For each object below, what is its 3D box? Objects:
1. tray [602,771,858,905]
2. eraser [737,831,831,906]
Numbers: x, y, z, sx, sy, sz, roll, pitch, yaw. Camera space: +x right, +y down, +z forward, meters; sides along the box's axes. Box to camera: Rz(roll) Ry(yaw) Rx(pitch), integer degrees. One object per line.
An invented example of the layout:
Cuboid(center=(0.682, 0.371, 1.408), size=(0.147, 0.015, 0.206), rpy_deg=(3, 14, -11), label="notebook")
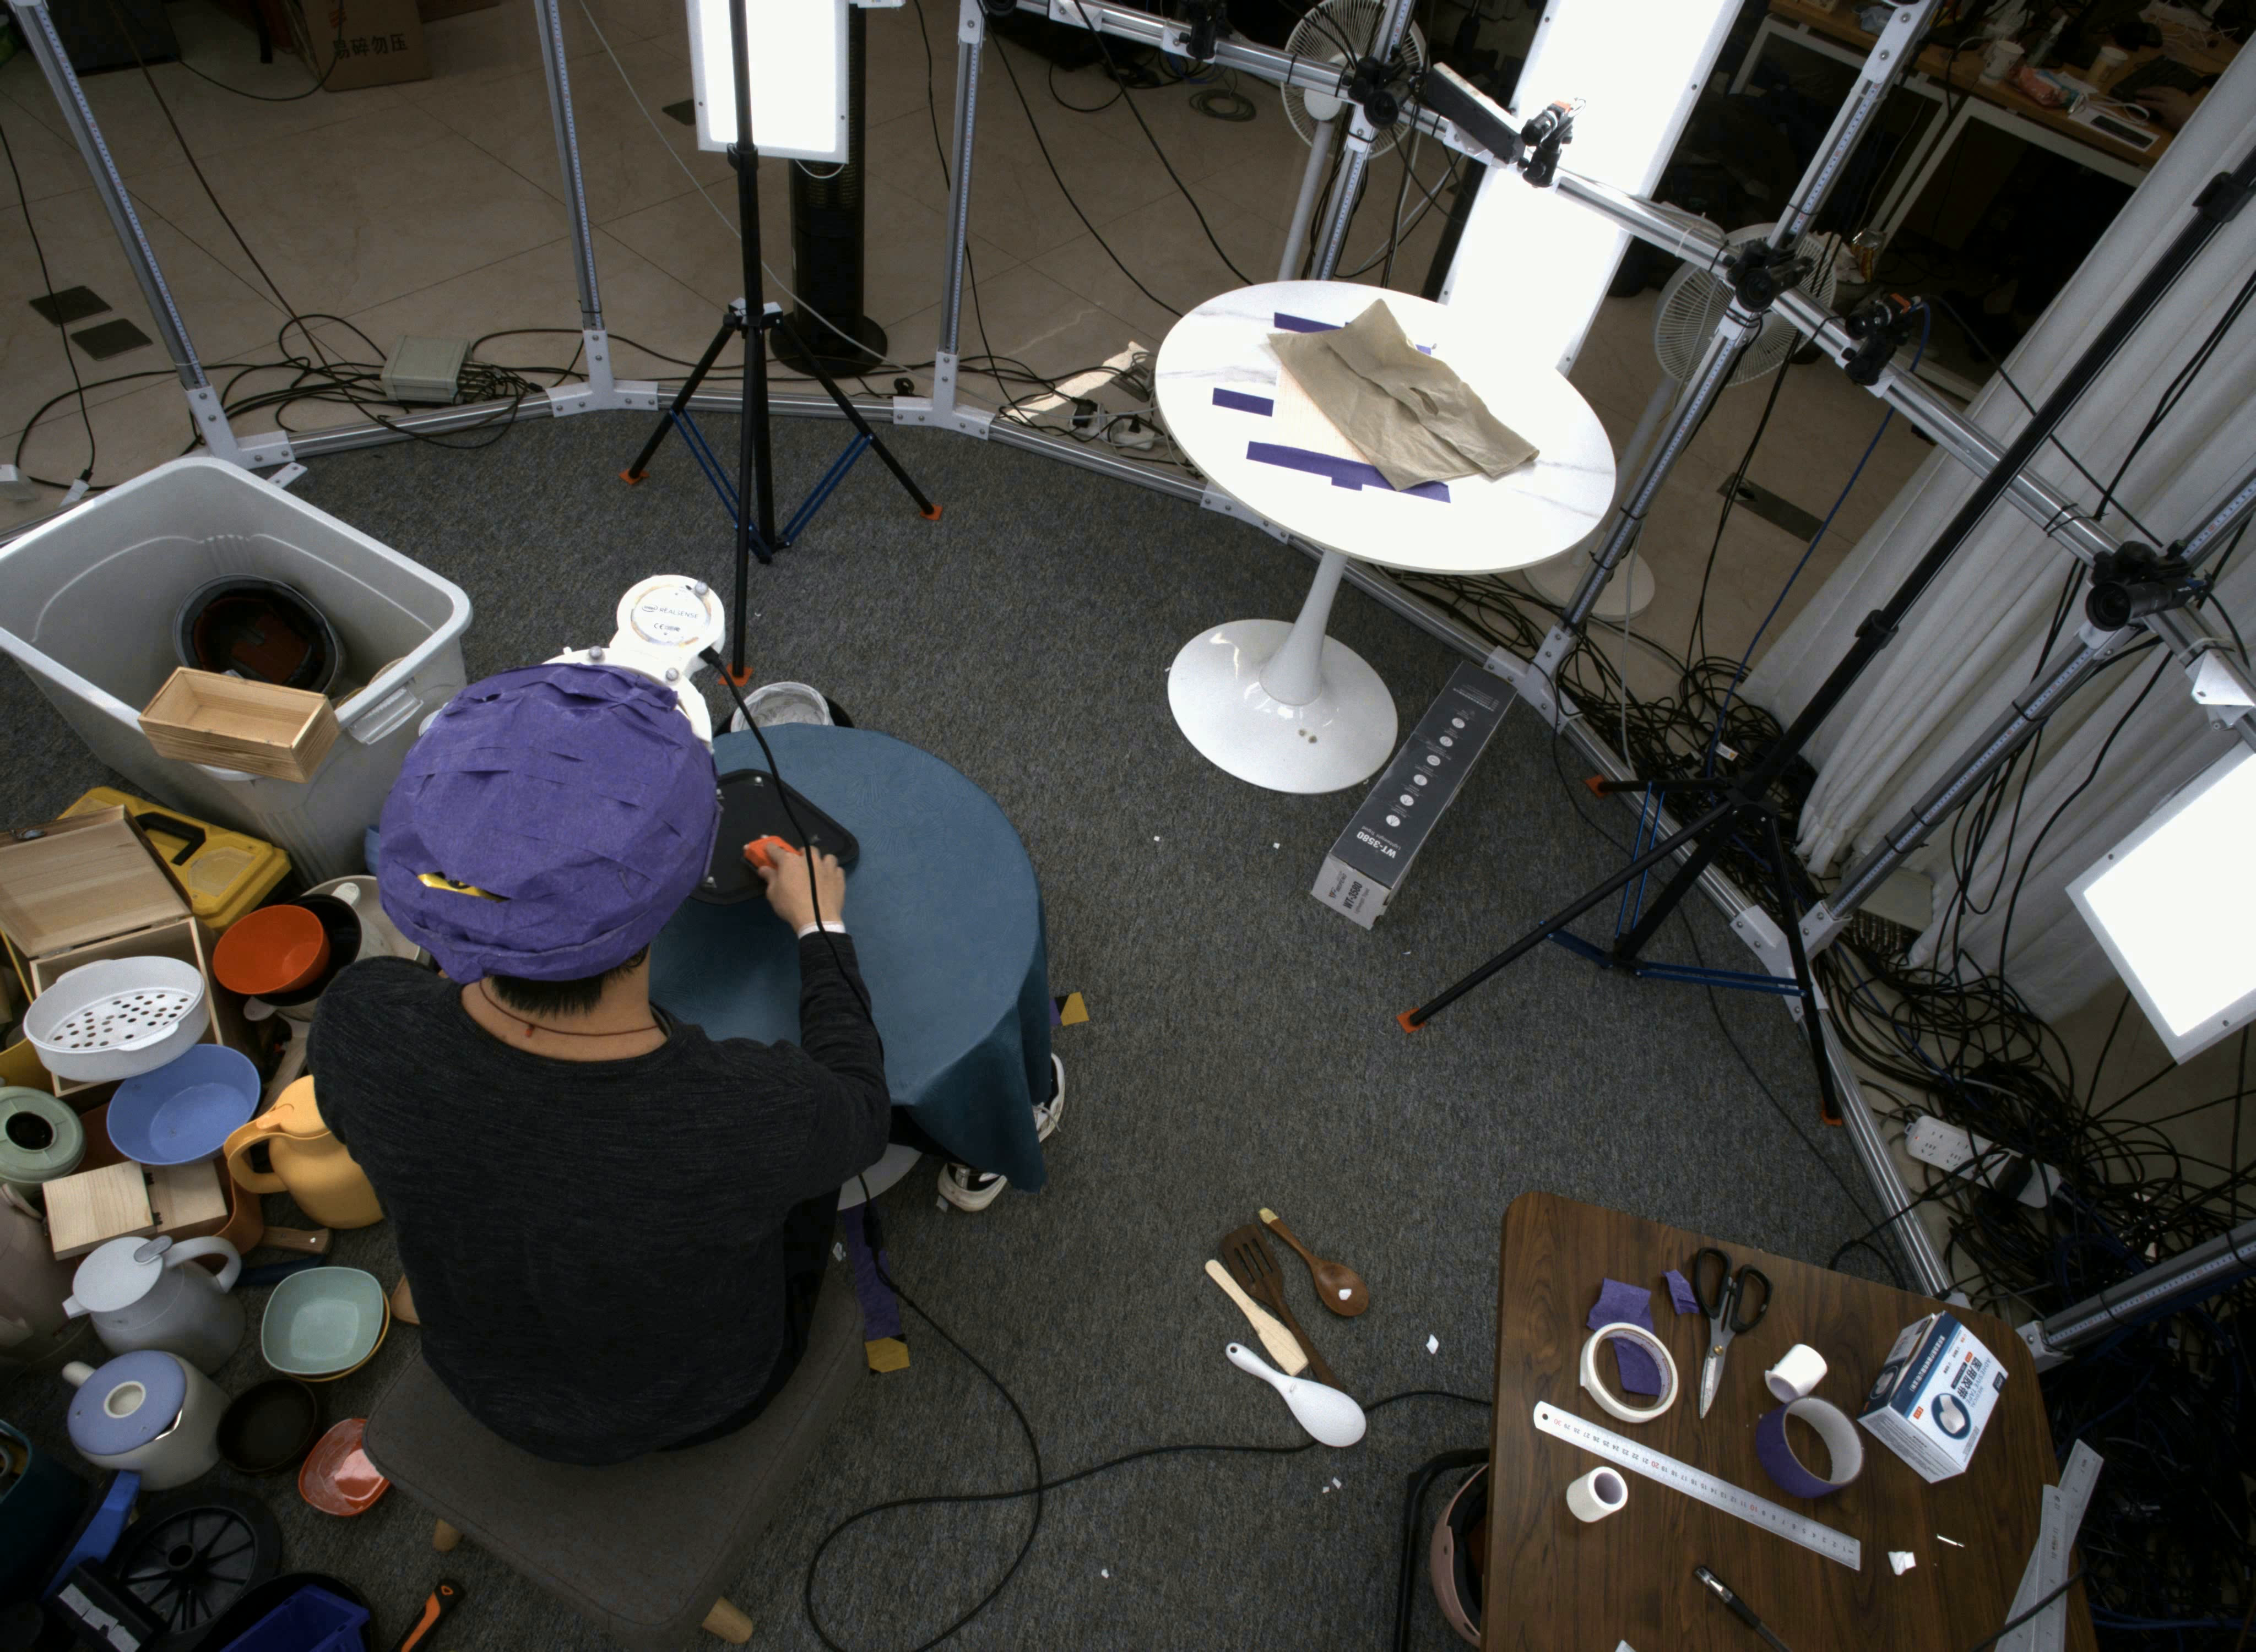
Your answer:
Cuboid(center=(-0.491, 0.008, 1.596), size=(0.207, 0.010, 0.328), rpy_deg=(37, 25, 15), label="tray")
Cuboid(center=(-0.418, 0.049, 1.572), size=(0.106, 0.023, 0.059), rpy_deg=(37, 31, 10), label="eraser")
